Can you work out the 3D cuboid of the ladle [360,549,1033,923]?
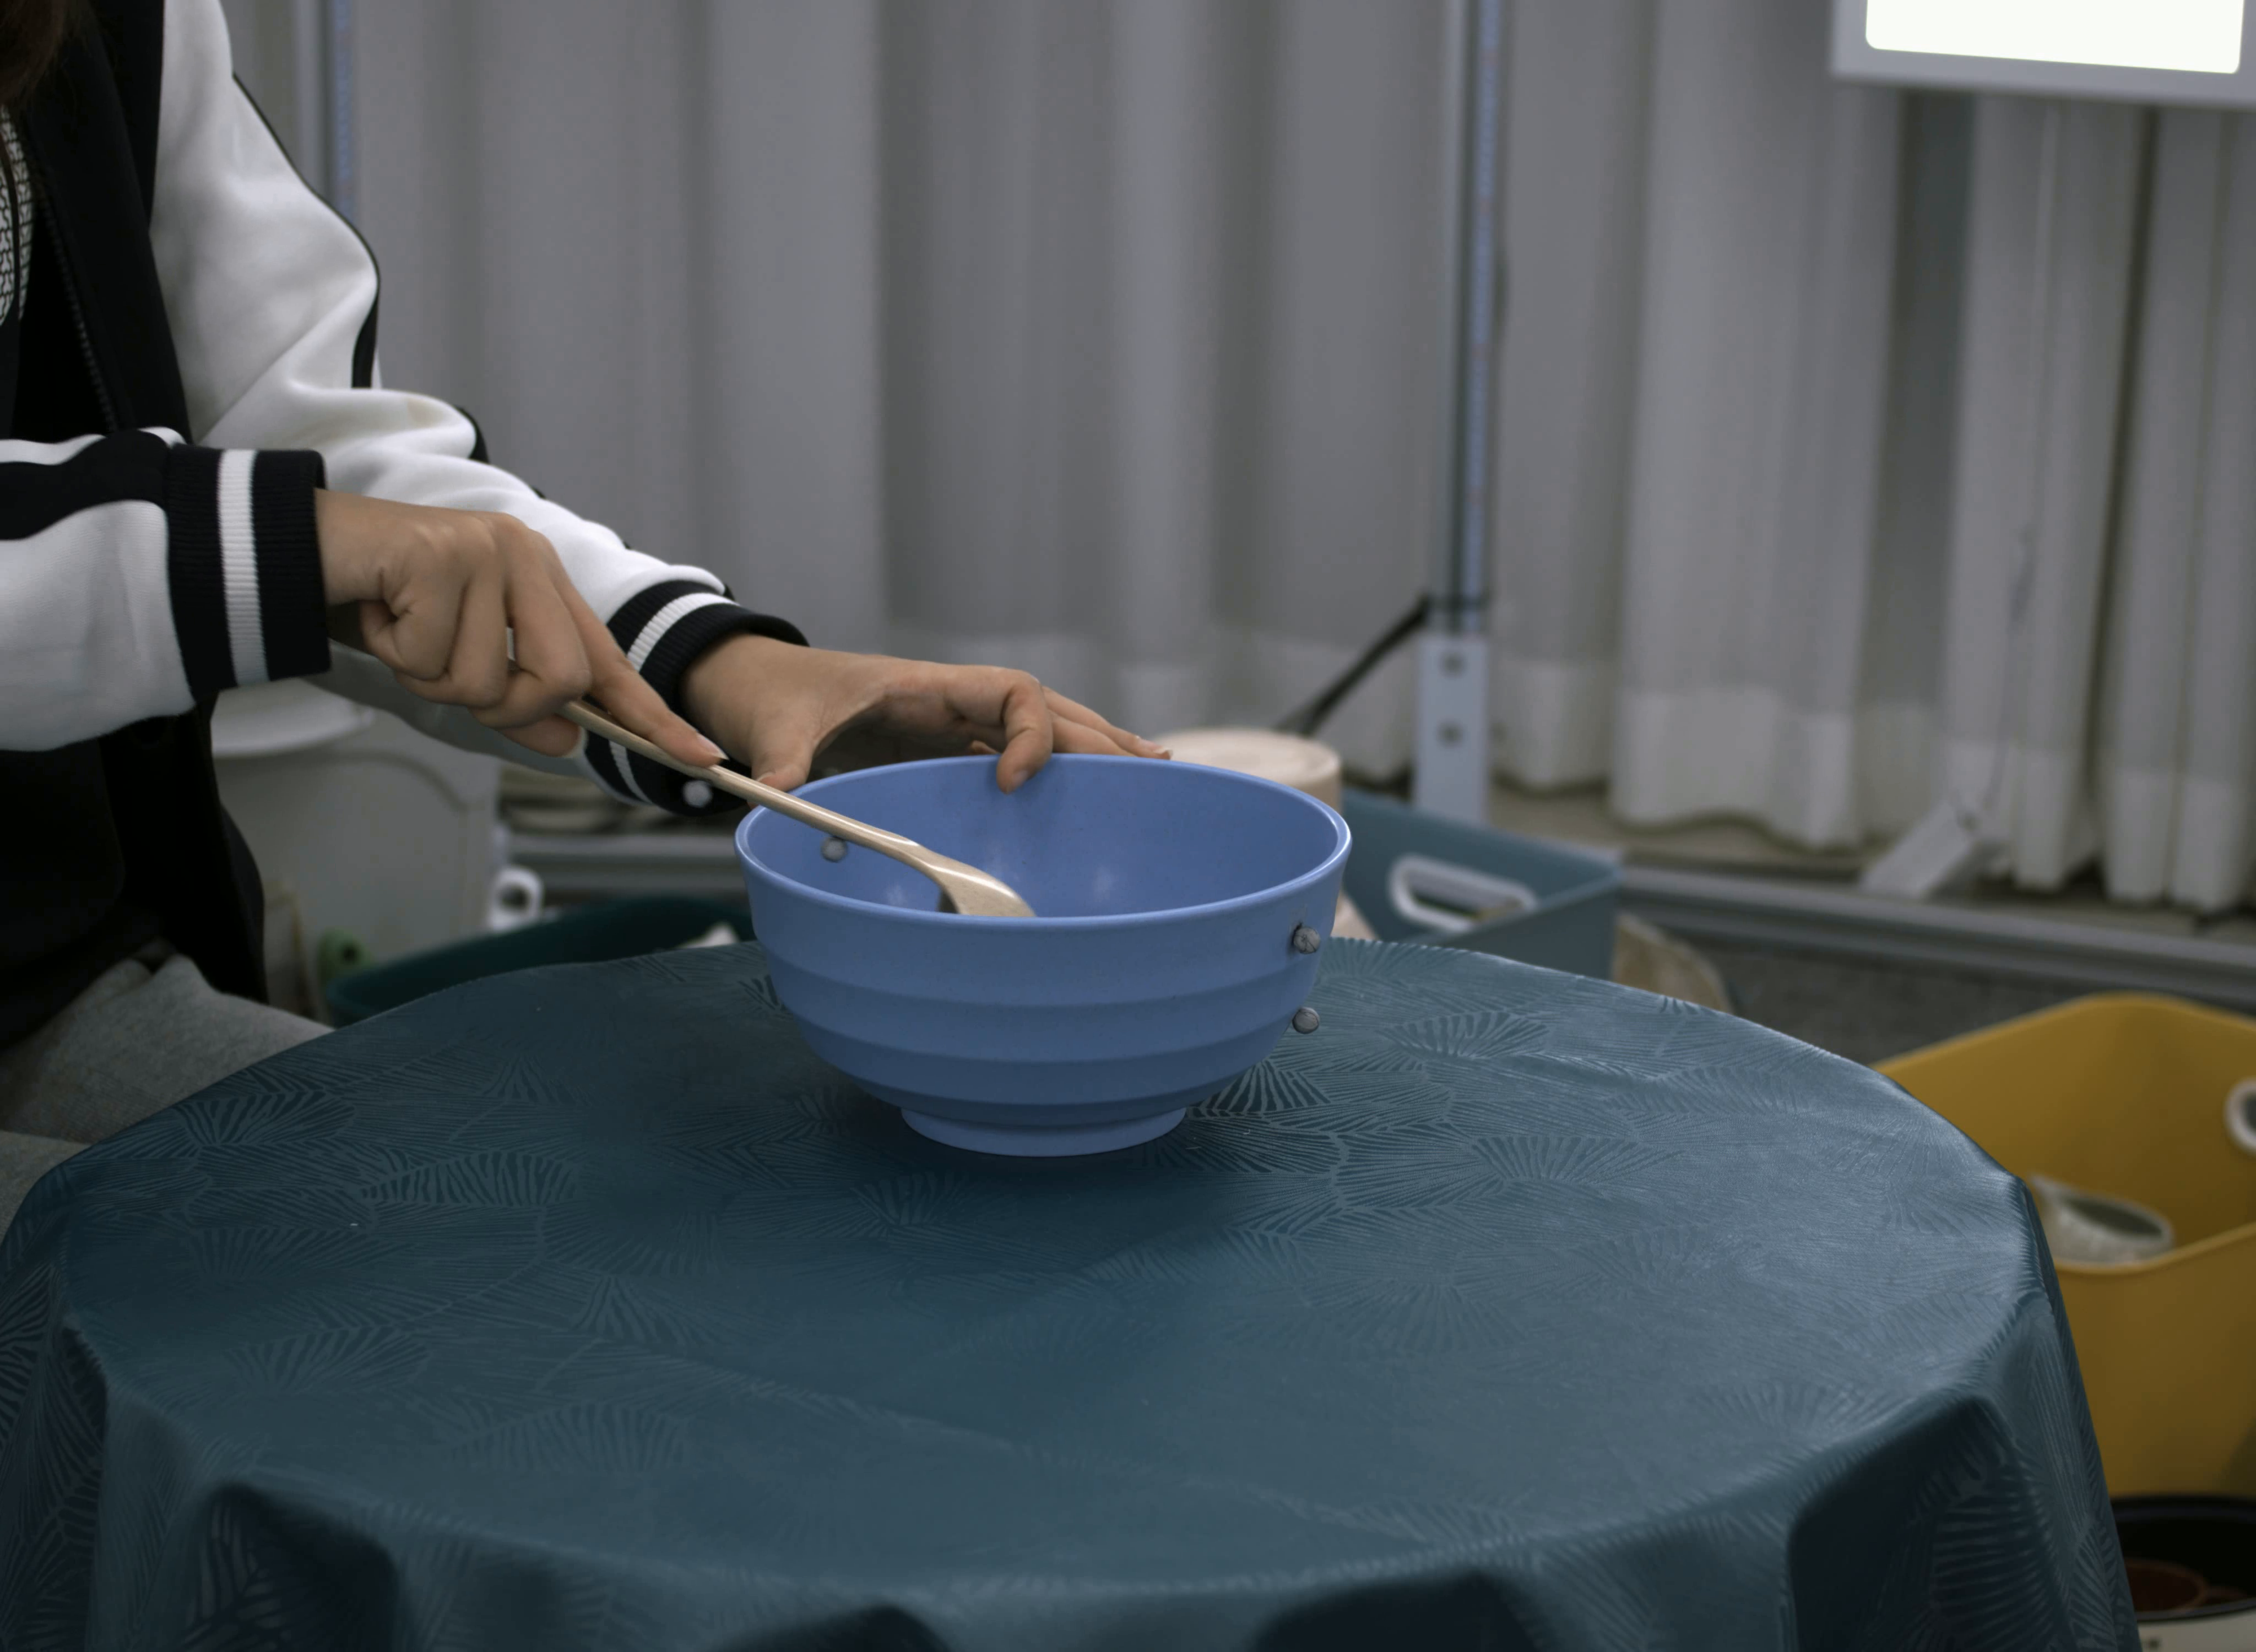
[{"bbox_3d":[-0.142,0.005,1.633,0.256,0.073,0.071,28,13,-16],"label":"ladle"}]

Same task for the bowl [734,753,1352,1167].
[{"bbox_3d":[-0.026,0.049,1.681,0.196,0.096,0.195,0,17,1],"label":"bowl"}]
